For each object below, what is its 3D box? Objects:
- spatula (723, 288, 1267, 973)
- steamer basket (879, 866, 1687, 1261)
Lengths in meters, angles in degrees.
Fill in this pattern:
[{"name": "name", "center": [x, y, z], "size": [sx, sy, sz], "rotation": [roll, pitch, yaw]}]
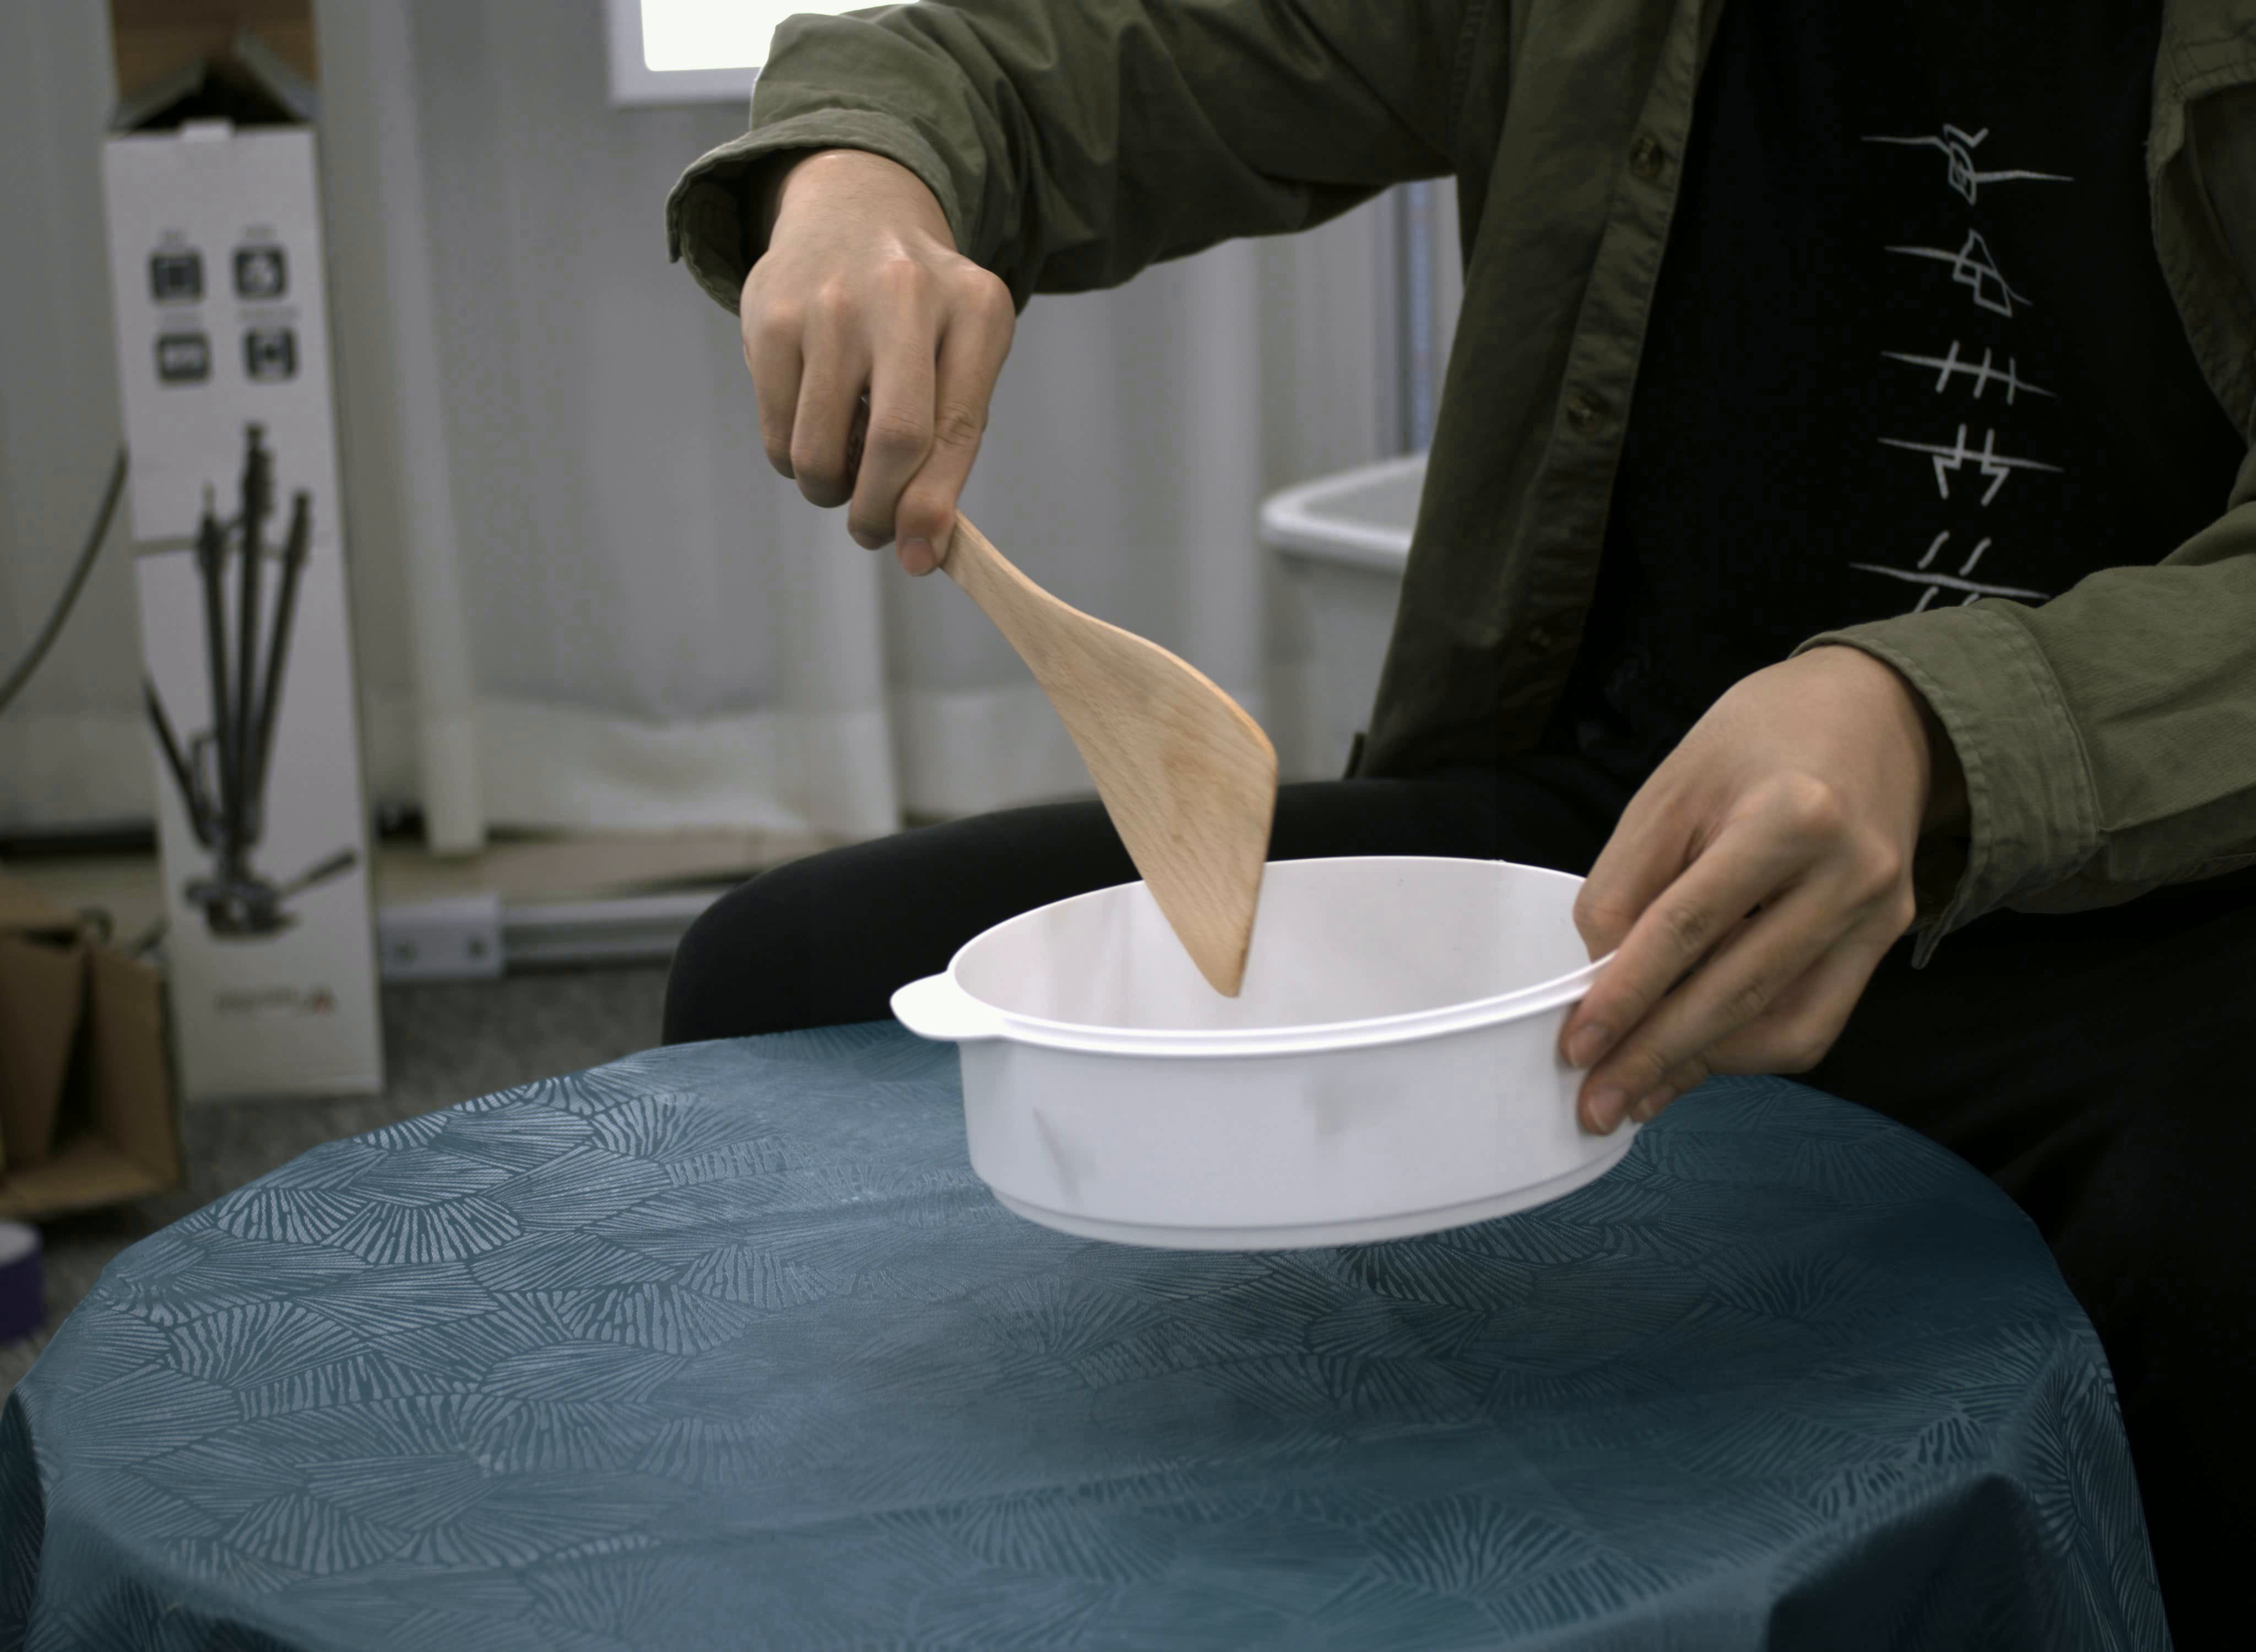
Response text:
[{"name": "spatula", "center": [-0.045, -0.077, 1.665], "size": [0.016, 0.079, 0.332], "rotation": [-8, 38, -34]}, {"name": "steamer basket", "center": [0.045, 0.067, 1.548], "size": [0.229, 0.069, 0.203], "rotation": [-6, 13, -12]}]
